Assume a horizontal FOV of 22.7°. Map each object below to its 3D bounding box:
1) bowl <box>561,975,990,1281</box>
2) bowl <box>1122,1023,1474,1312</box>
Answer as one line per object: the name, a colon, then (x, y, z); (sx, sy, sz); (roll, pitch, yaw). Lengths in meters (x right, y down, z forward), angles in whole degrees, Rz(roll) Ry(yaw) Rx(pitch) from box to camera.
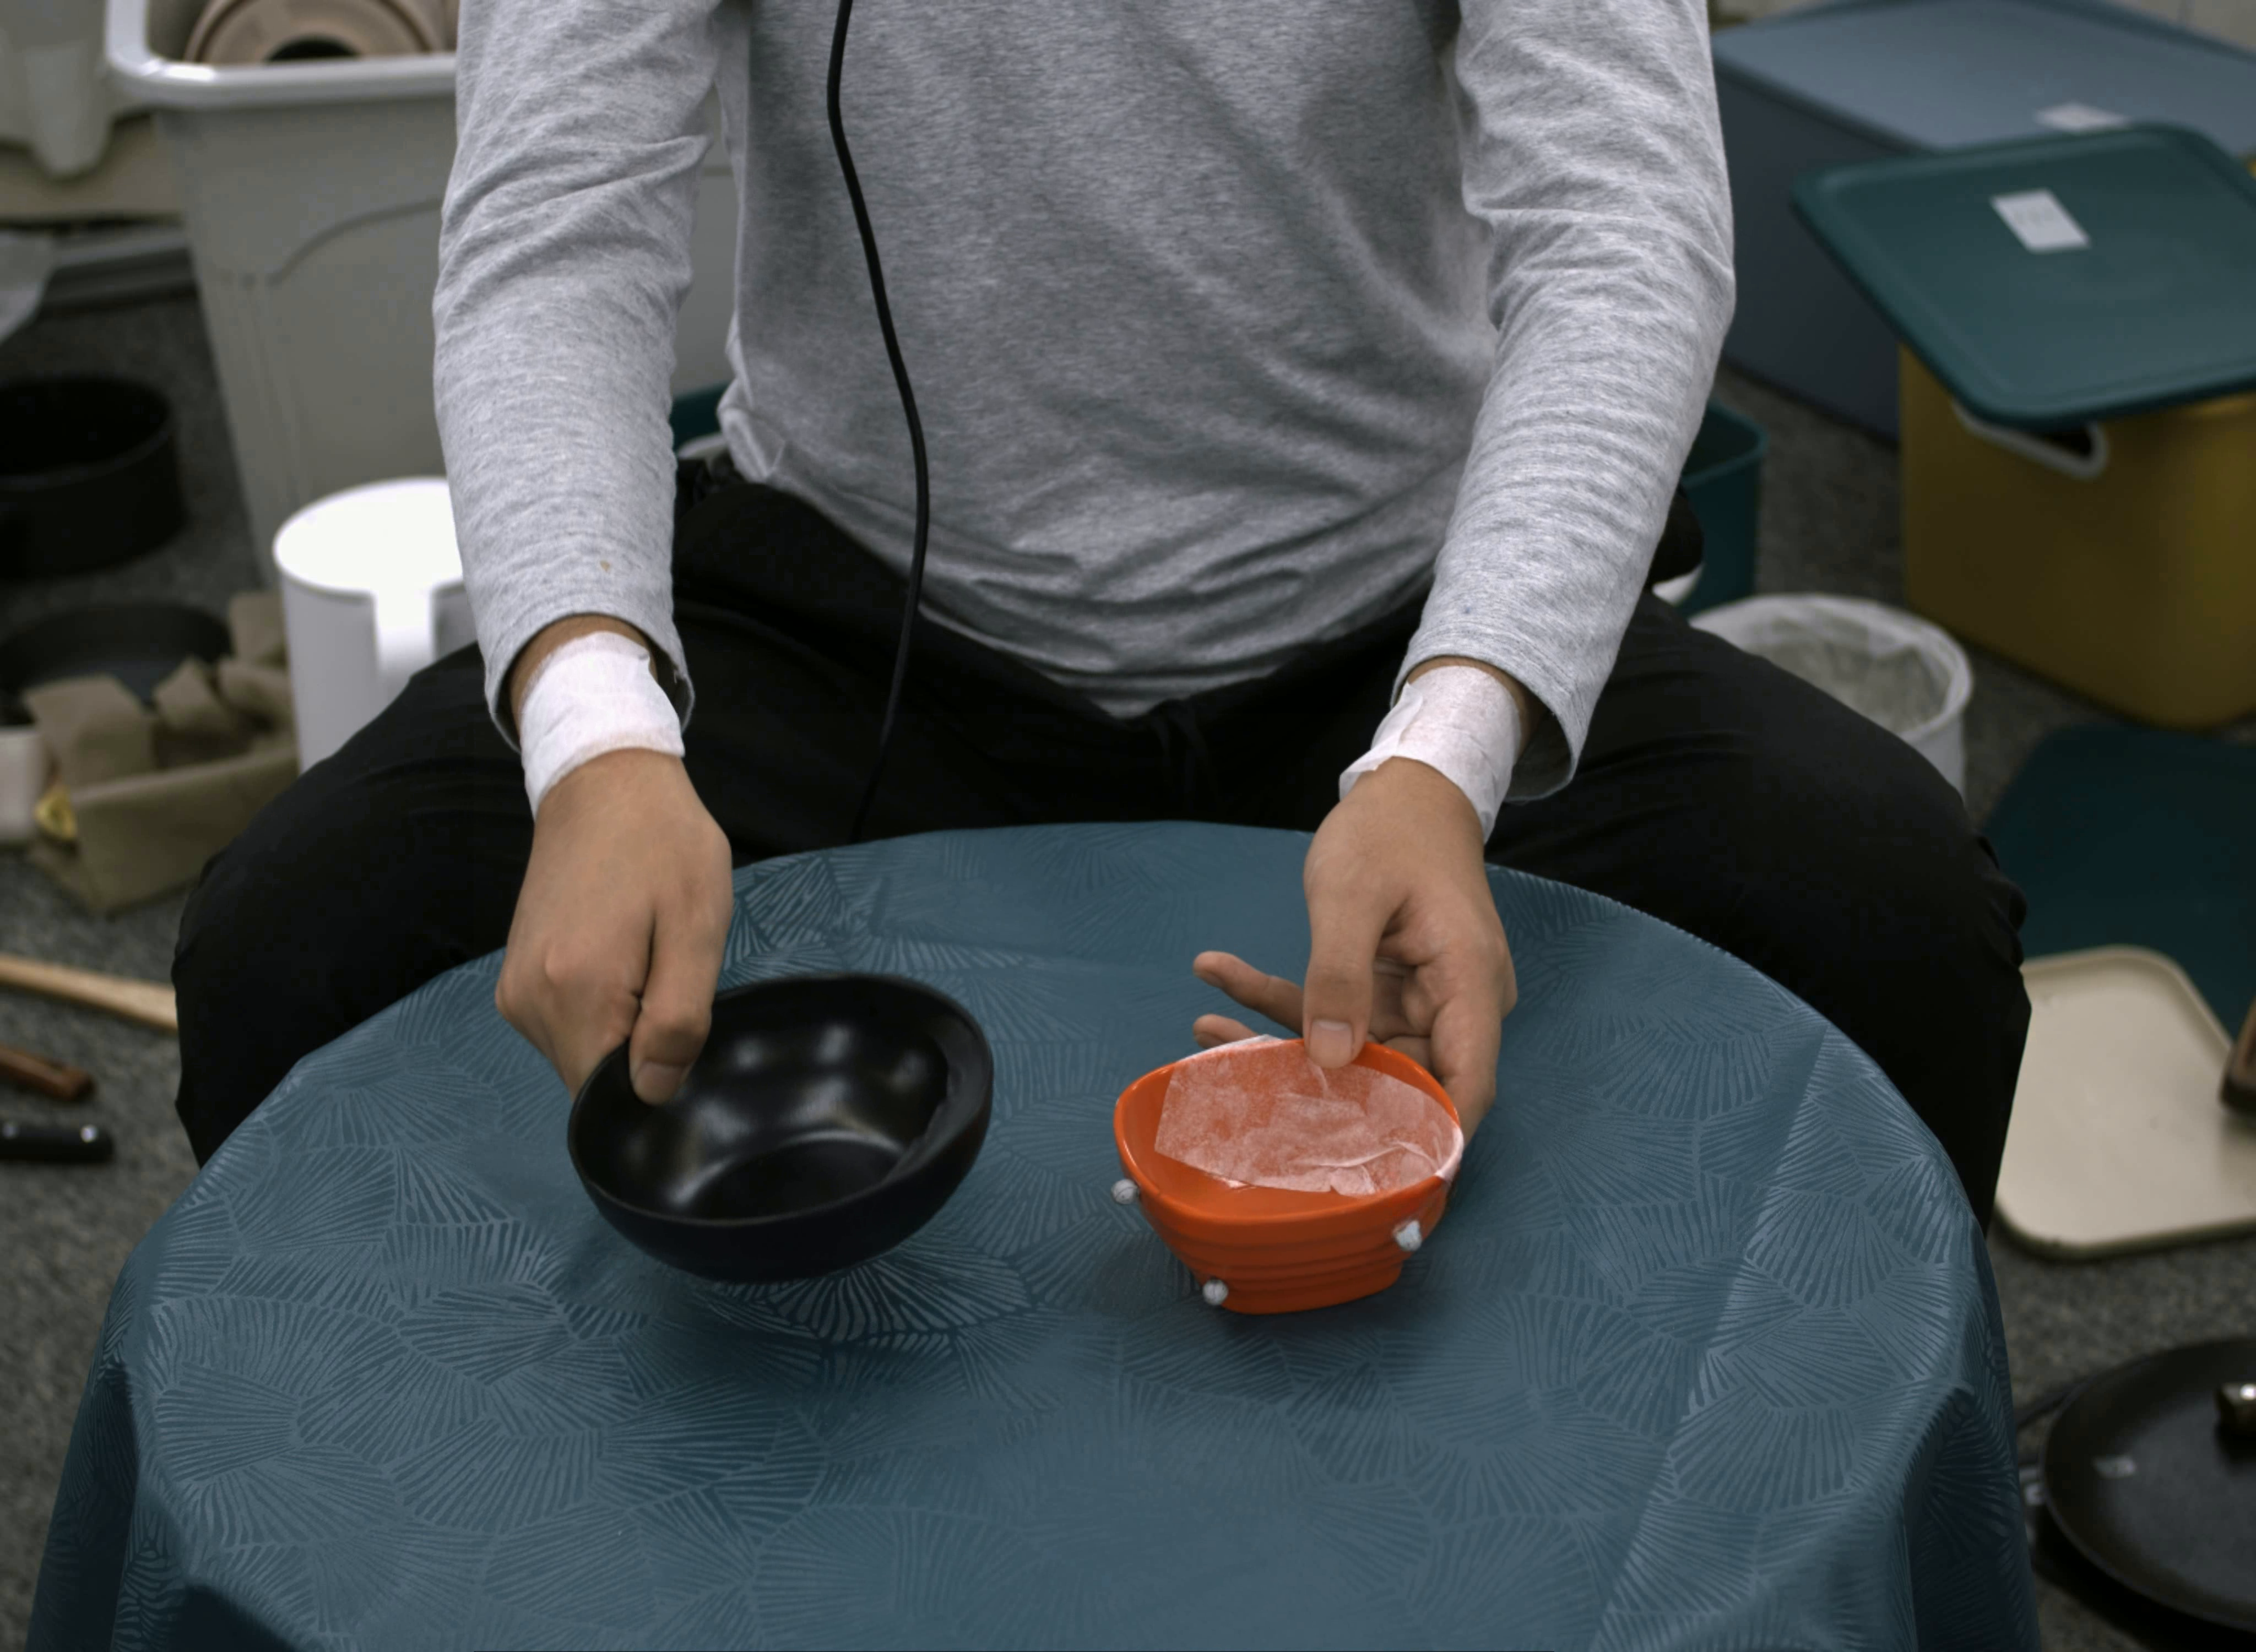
bowl: (-0.108, 0.105, 1.790); (0.139, 0.049, 0.142); (-8, 28, 5)
bowl: (0.055, 0.115, 1.808); (0.118, 0.051, 0.121); (-2, 31, 2)
